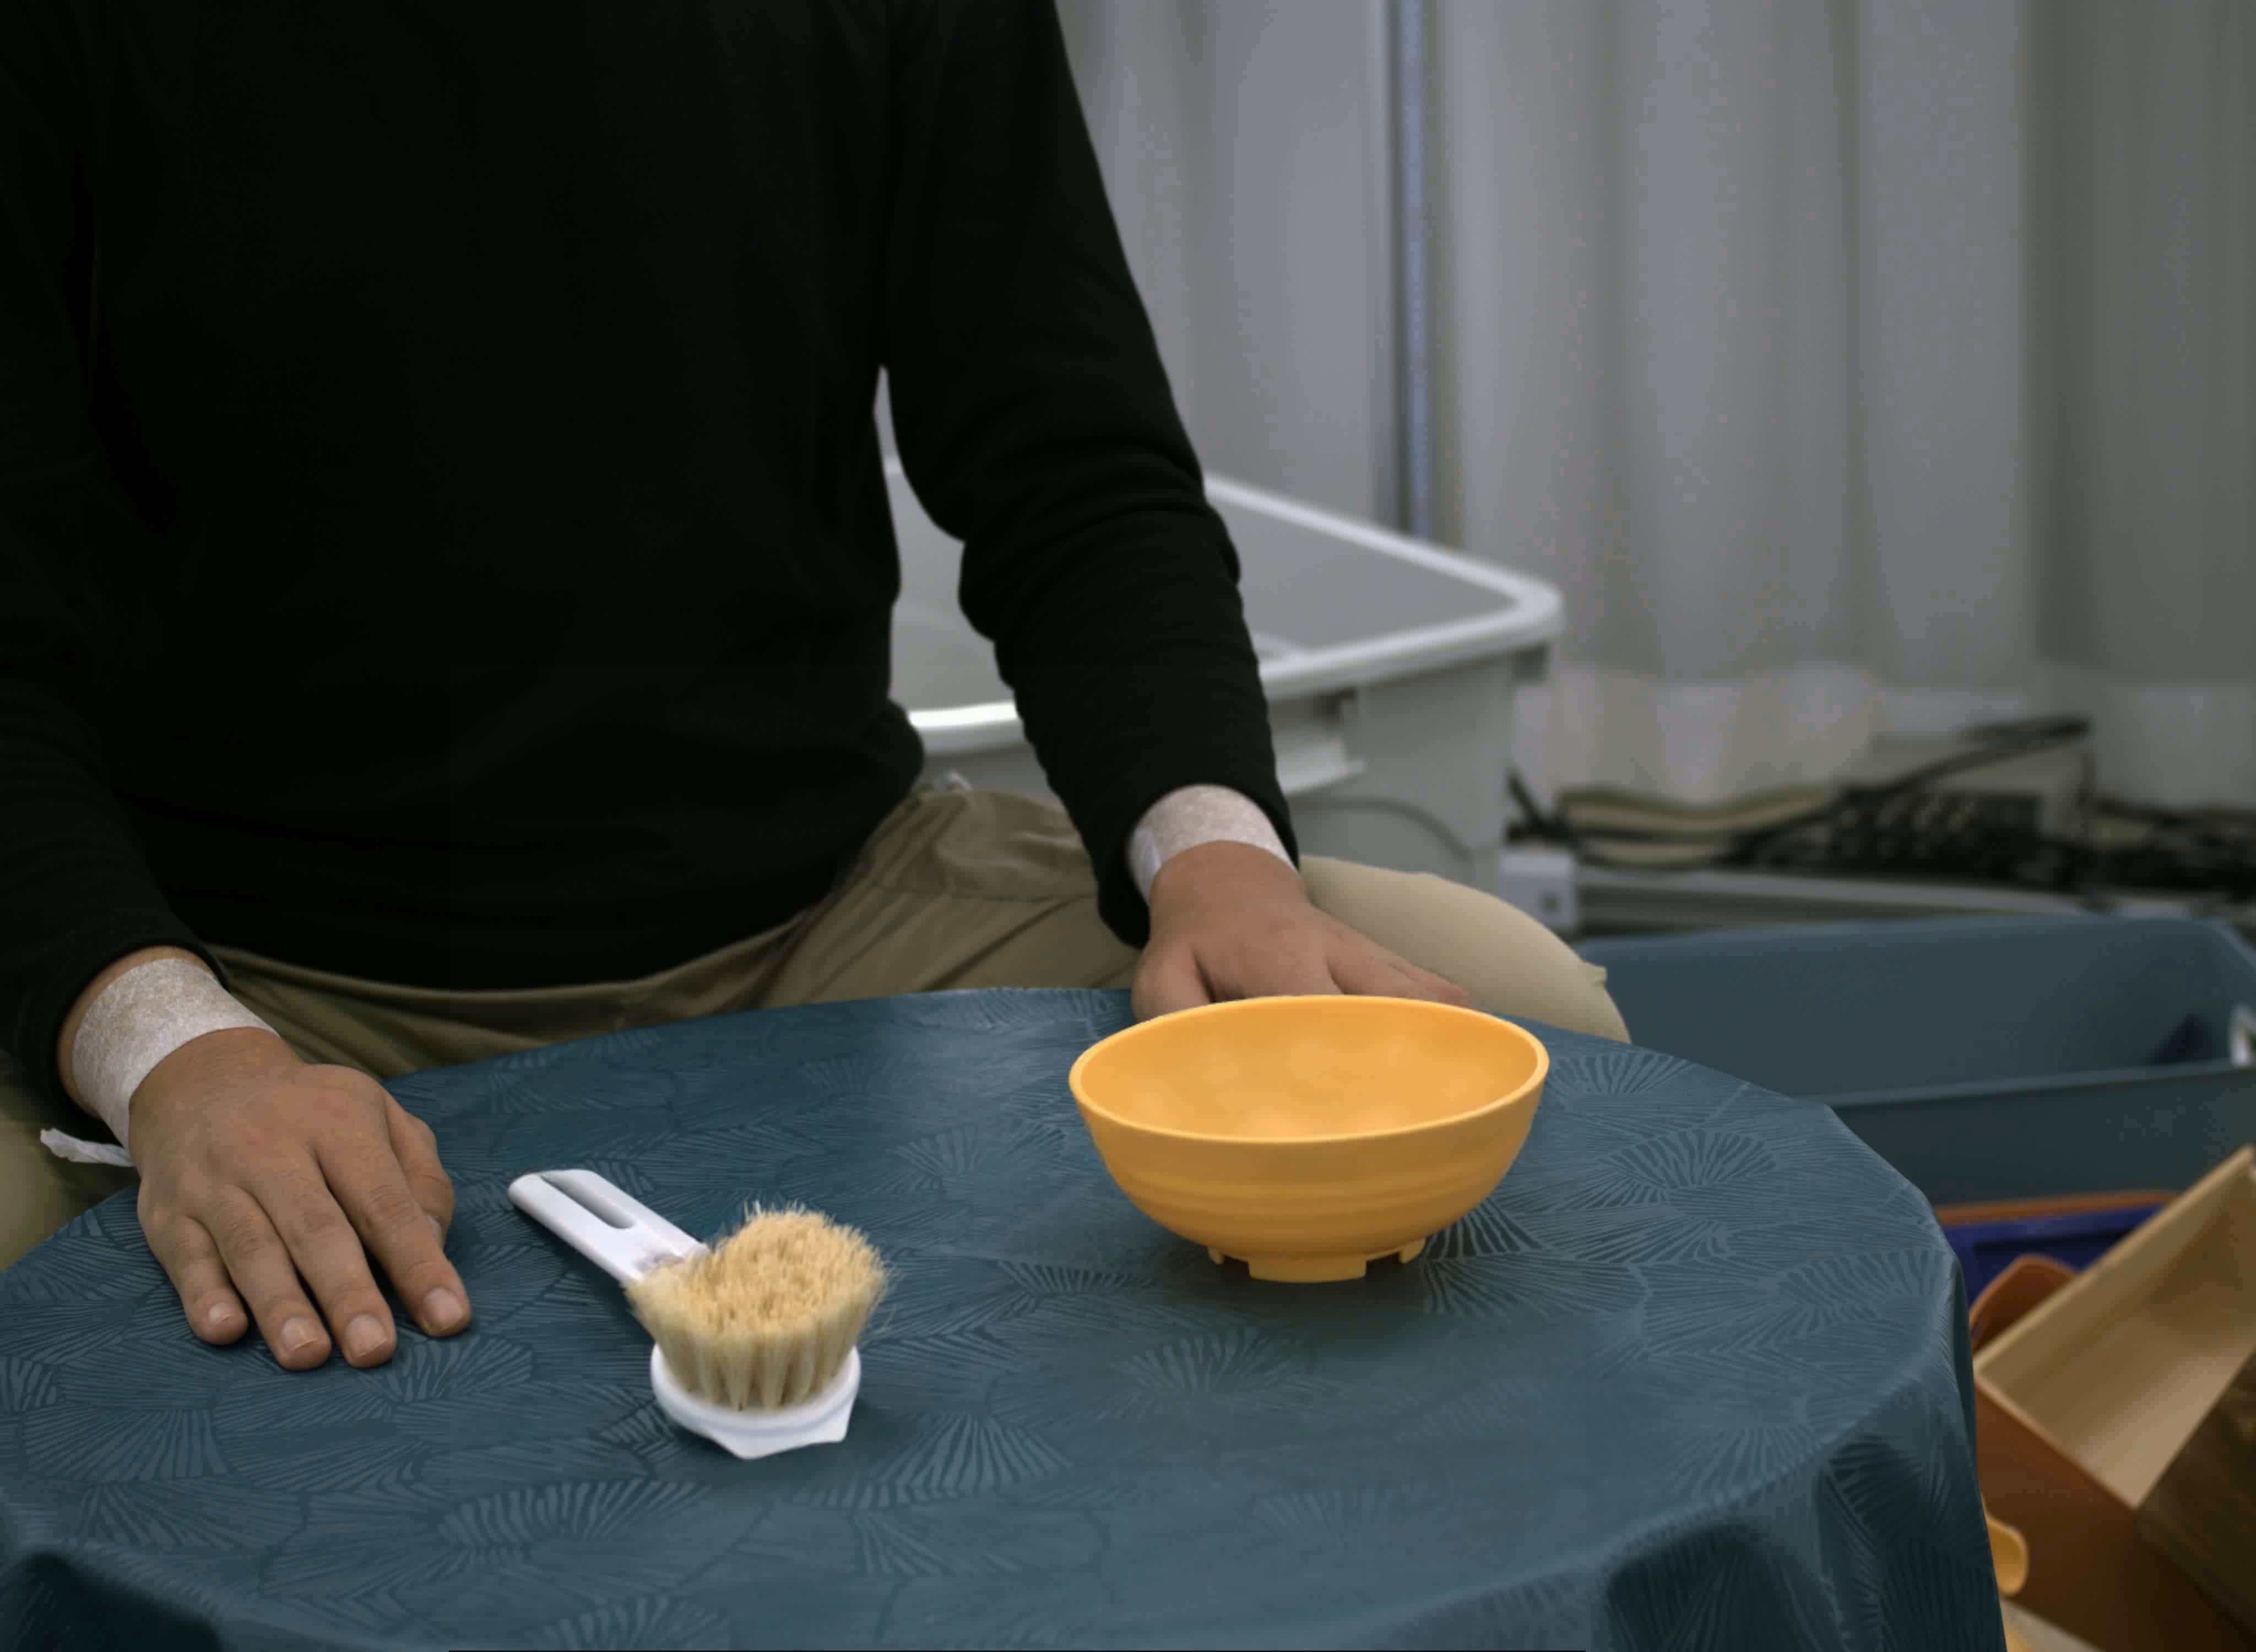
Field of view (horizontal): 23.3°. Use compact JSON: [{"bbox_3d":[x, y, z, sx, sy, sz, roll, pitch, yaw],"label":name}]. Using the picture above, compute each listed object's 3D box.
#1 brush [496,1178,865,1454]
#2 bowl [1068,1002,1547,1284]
[{"bbox_3d":[-0.145,0.120,1.618,0.068,0.056,0.268,-3,13,-20],"label":"brush"},{"bbox_3d":[0.054,0.100,1.647,0.145,0.060,0.146,-2,13,0],"label":"bowl"}]
